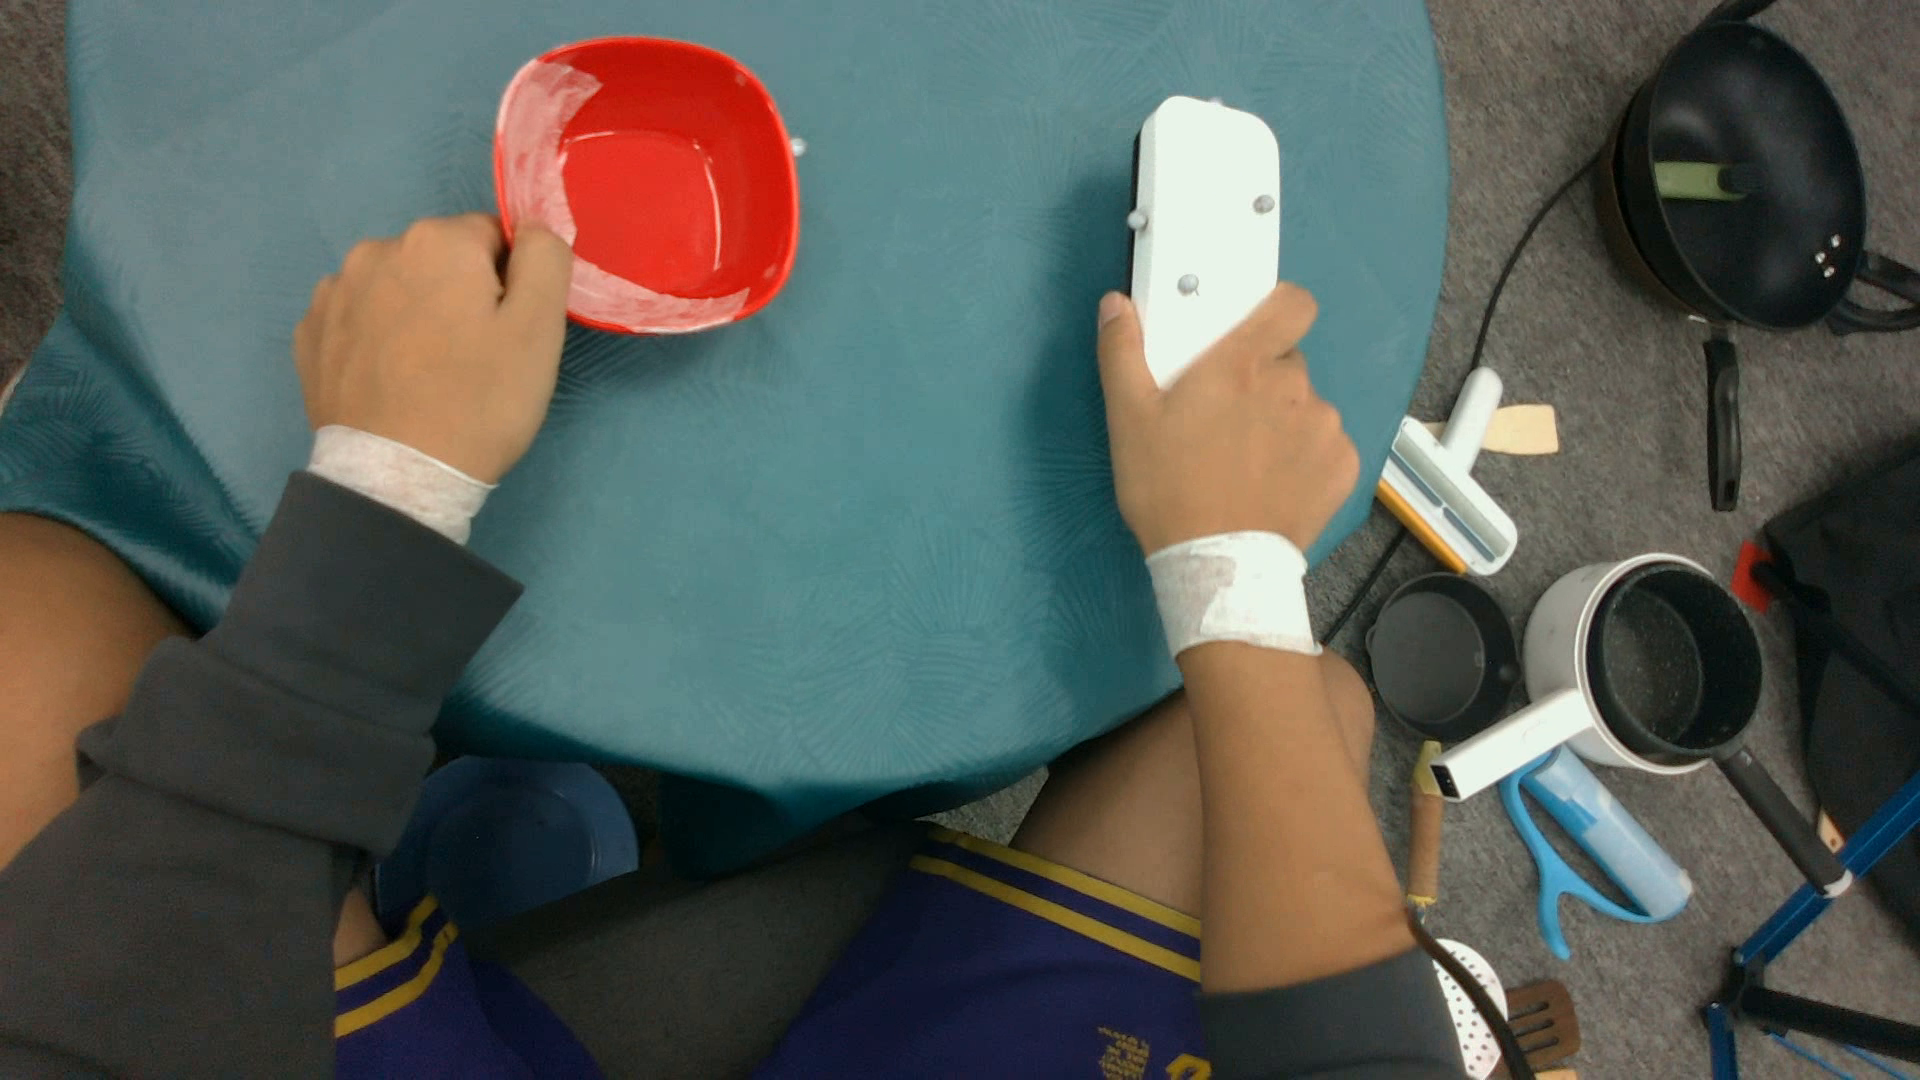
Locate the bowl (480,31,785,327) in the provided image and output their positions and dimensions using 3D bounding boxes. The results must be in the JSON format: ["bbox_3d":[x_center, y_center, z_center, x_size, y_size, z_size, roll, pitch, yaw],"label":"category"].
[{"bbox_3d":[-0.128,-0.134,0.534,0.119,0.051,0.119,1,87,-22],"label":"bowl"}]

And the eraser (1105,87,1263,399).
[{"bbox_3d":[0.095,-0.127,0.590,0.063,0.034,0.131,8,81,-23],"label":"eraser"}]
